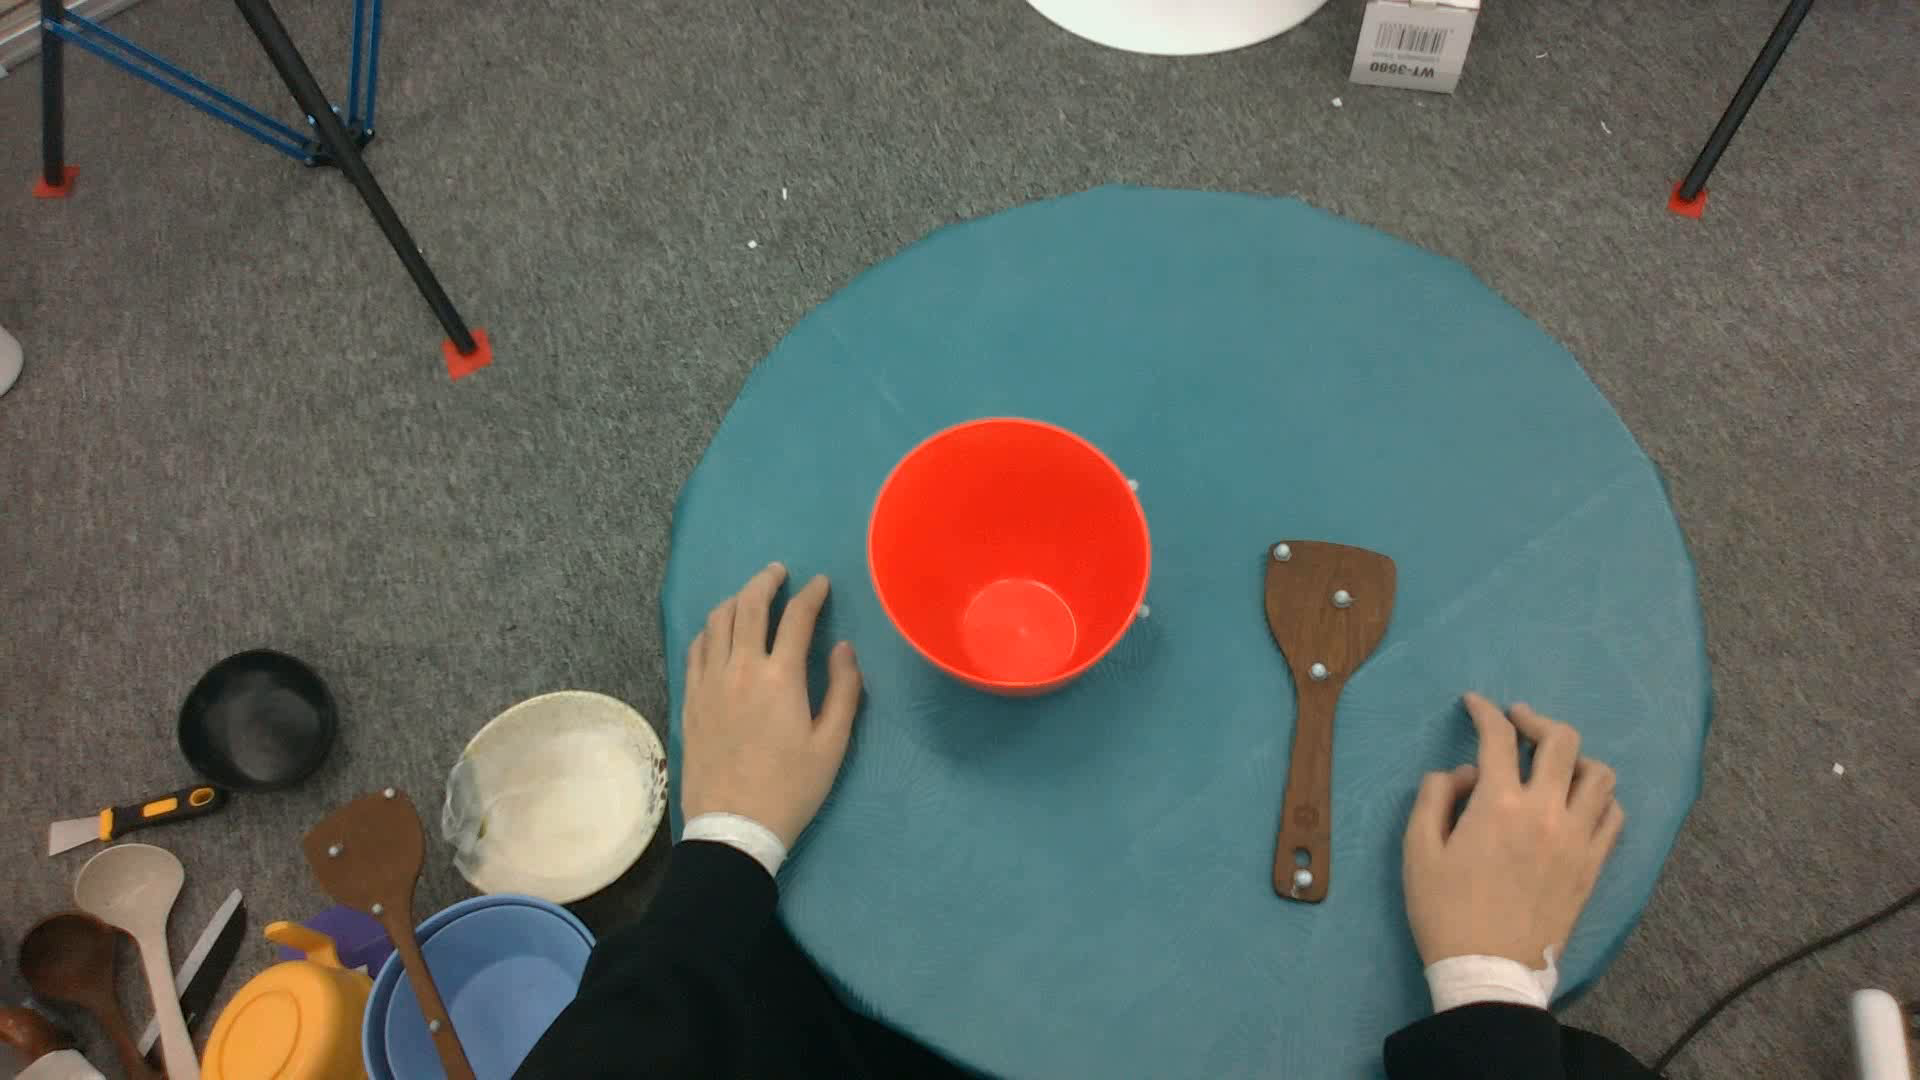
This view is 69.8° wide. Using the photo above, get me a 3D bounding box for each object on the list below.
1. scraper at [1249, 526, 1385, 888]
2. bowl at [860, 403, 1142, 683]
[{"bbox_3d":[0.189,0.087,0.760,0.076,0.011,0.212,10,63,8],"label":"scraper"},{"bbox_3d":[0.022,0.014,0.753,0.148,0.104,0.148,0,63,0],"label":"bowl"}]
